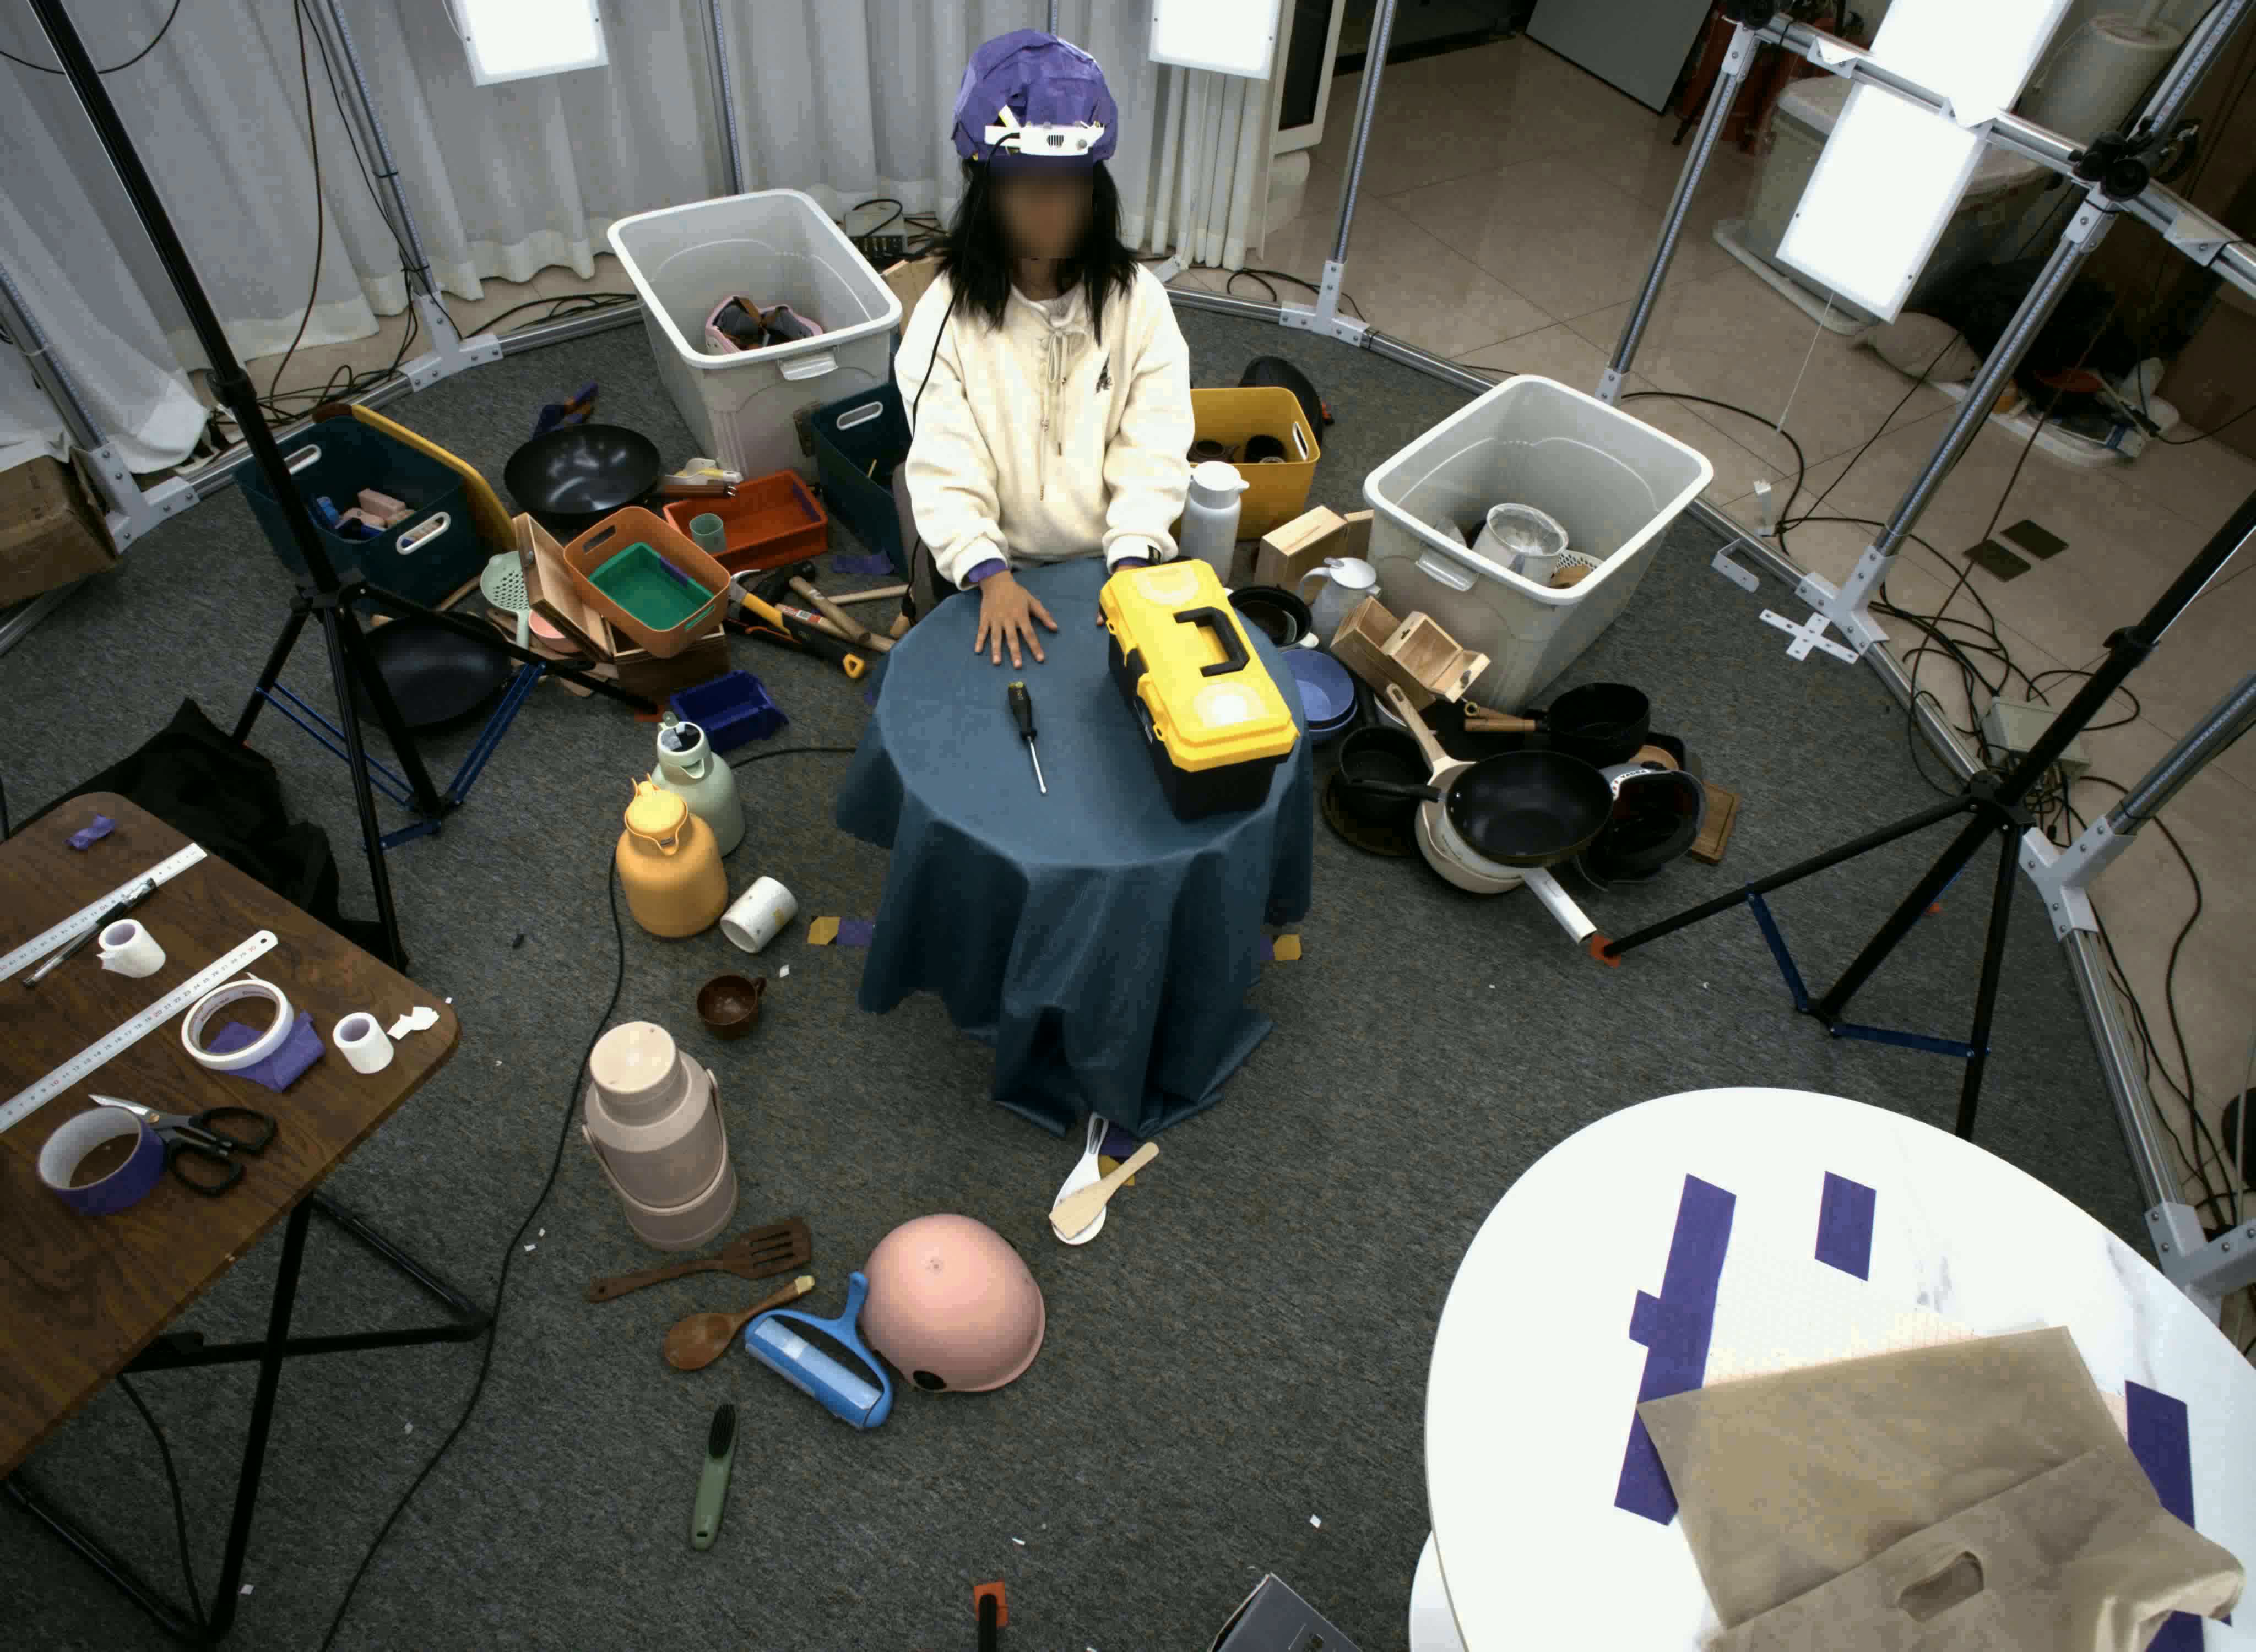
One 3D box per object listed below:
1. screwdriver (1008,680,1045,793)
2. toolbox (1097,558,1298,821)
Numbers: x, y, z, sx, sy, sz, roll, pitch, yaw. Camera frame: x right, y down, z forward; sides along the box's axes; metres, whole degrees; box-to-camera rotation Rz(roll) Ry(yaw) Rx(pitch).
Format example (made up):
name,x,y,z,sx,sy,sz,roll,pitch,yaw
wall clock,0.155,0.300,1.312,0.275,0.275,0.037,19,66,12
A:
name,x,y,z,sx,sy,sz,roll,pitch,yaw
screwdriver,-0.136,-0.124,1.748,0.031,0.031,0.201,-7,51,-11
toolbox,0.084,-0.185,1.724,0.181,0.168,0.360,-11,51,-13
